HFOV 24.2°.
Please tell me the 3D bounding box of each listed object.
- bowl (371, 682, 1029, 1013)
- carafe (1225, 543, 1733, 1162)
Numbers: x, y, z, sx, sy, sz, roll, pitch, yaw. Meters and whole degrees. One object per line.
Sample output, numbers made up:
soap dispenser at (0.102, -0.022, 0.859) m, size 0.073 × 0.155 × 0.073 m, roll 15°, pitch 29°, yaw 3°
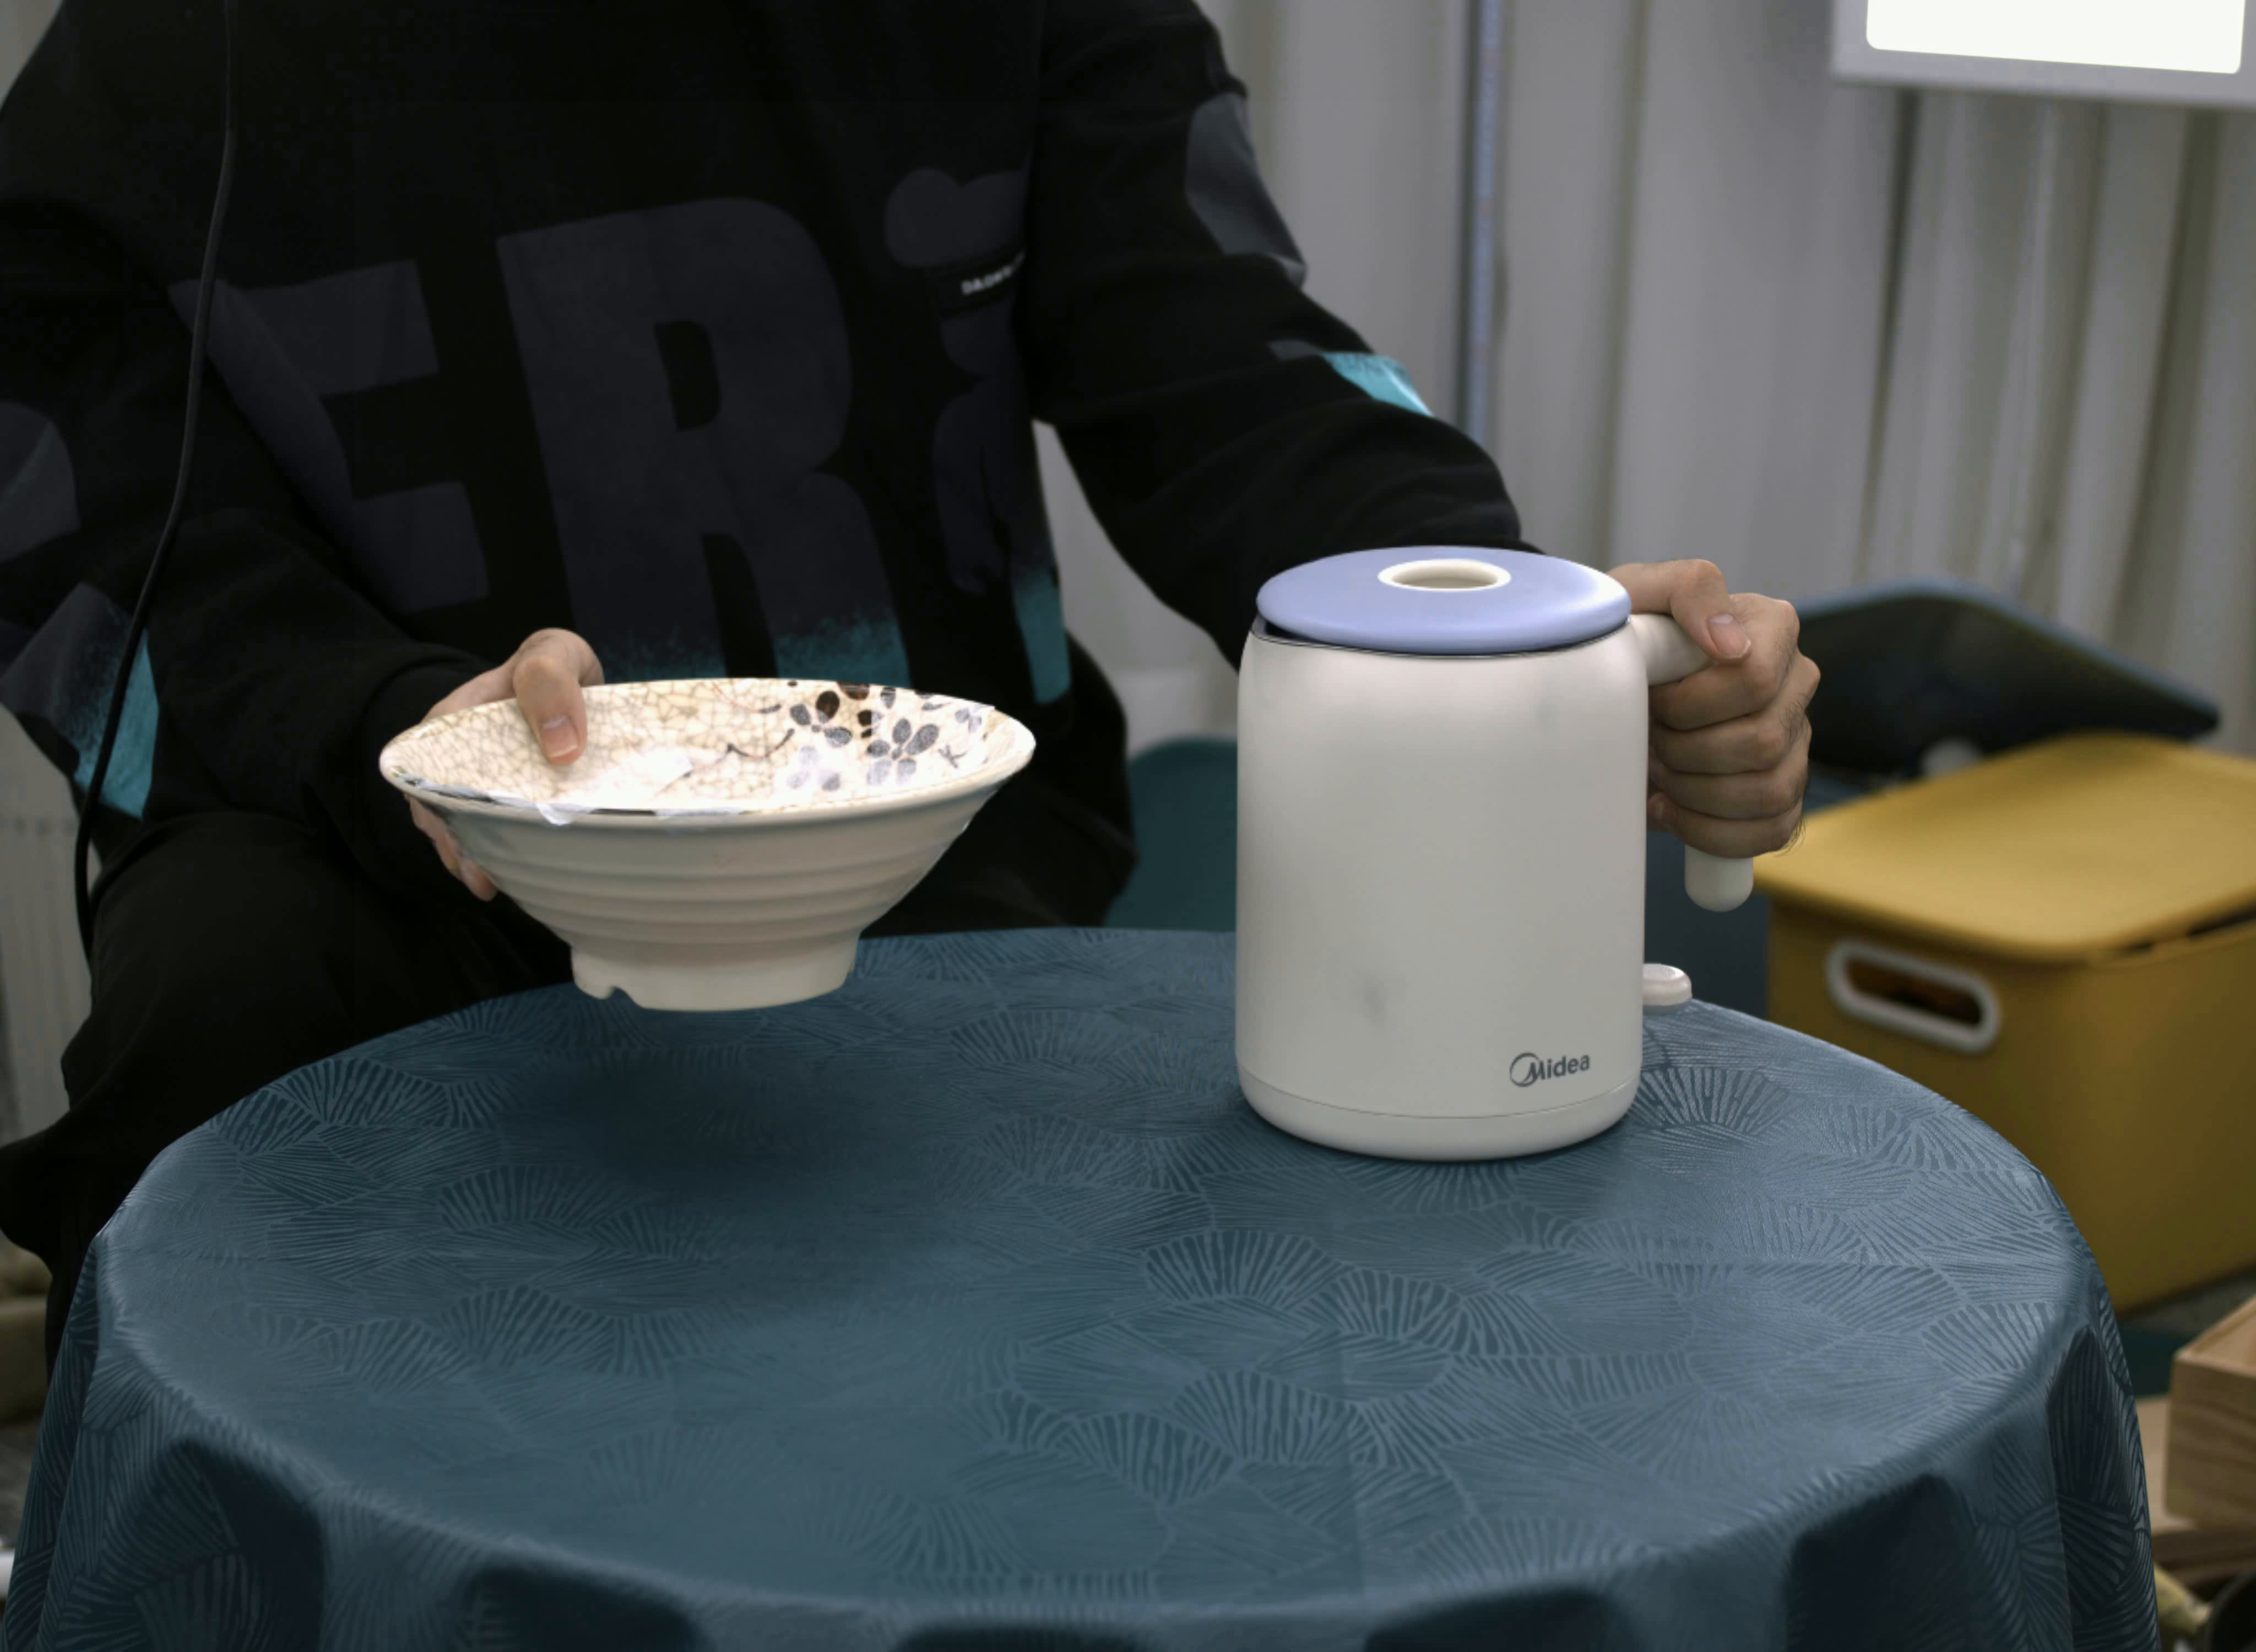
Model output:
bowl at (-0.132, 0.011, 1.636) m, size 0.203 × 0.078 × 0.203 m, roll 1°, pitch 12°, yaw 0°
carafe at (0.119, 0.005, 1.692) m, size 0.192 × 0.184 × 0.130 m, roll -7°, pitch 19°, yaw -31°
